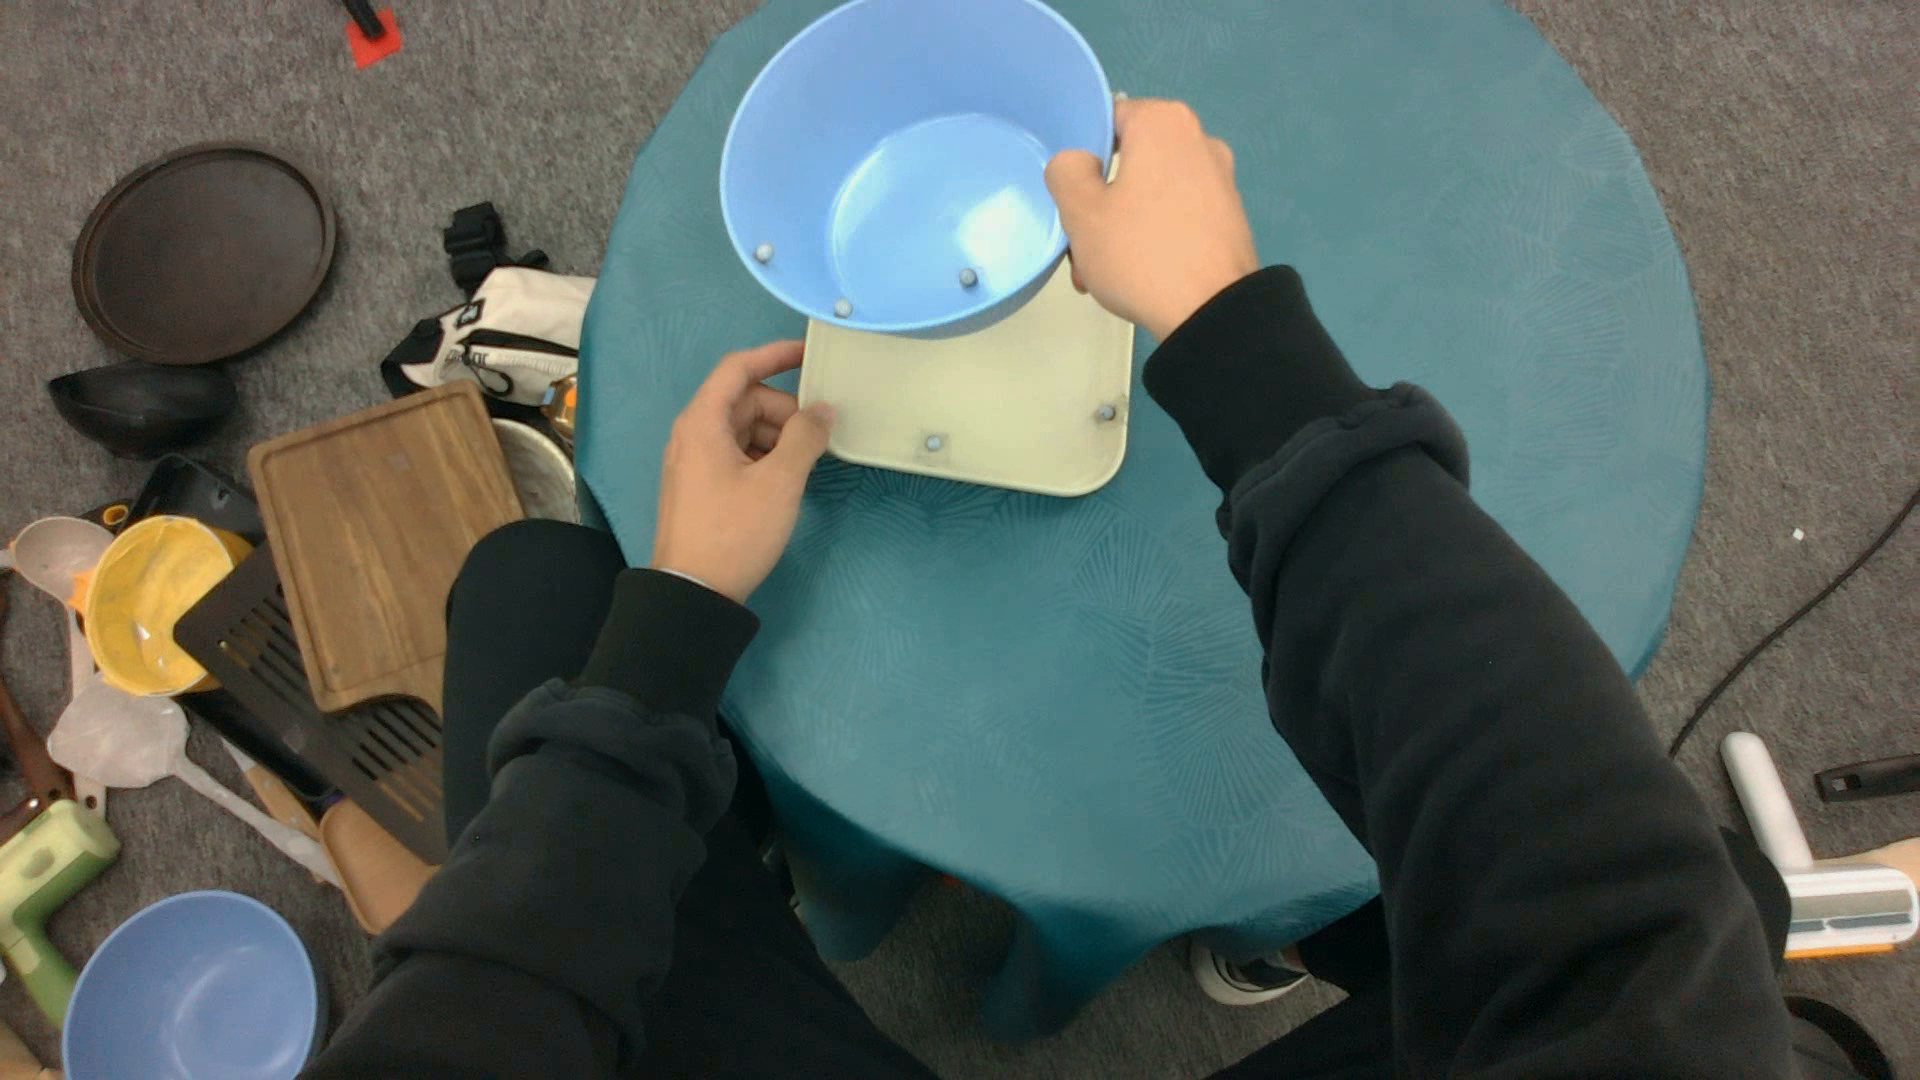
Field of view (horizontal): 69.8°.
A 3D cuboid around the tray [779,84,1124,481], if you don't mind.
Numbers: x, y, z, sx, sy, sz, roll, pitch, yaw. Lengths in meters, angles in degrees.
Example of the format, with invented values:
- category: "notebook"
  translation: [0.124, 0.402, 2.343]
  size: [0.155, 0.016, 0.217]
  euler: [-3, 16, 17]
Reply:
- category: "tray"
  translation: [0.000, -0.149, 0.727]
  size: [0.171, 0.017, 0.240]
  euler: [8, 72, -9]

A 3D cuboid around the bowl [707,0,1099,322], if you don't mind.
- category: "bowl"
  translation: [-0.020, -0.166, 0.623]
  size: [0.176, 0.070, 0.176]
  euler: [-4, 70, 12]
